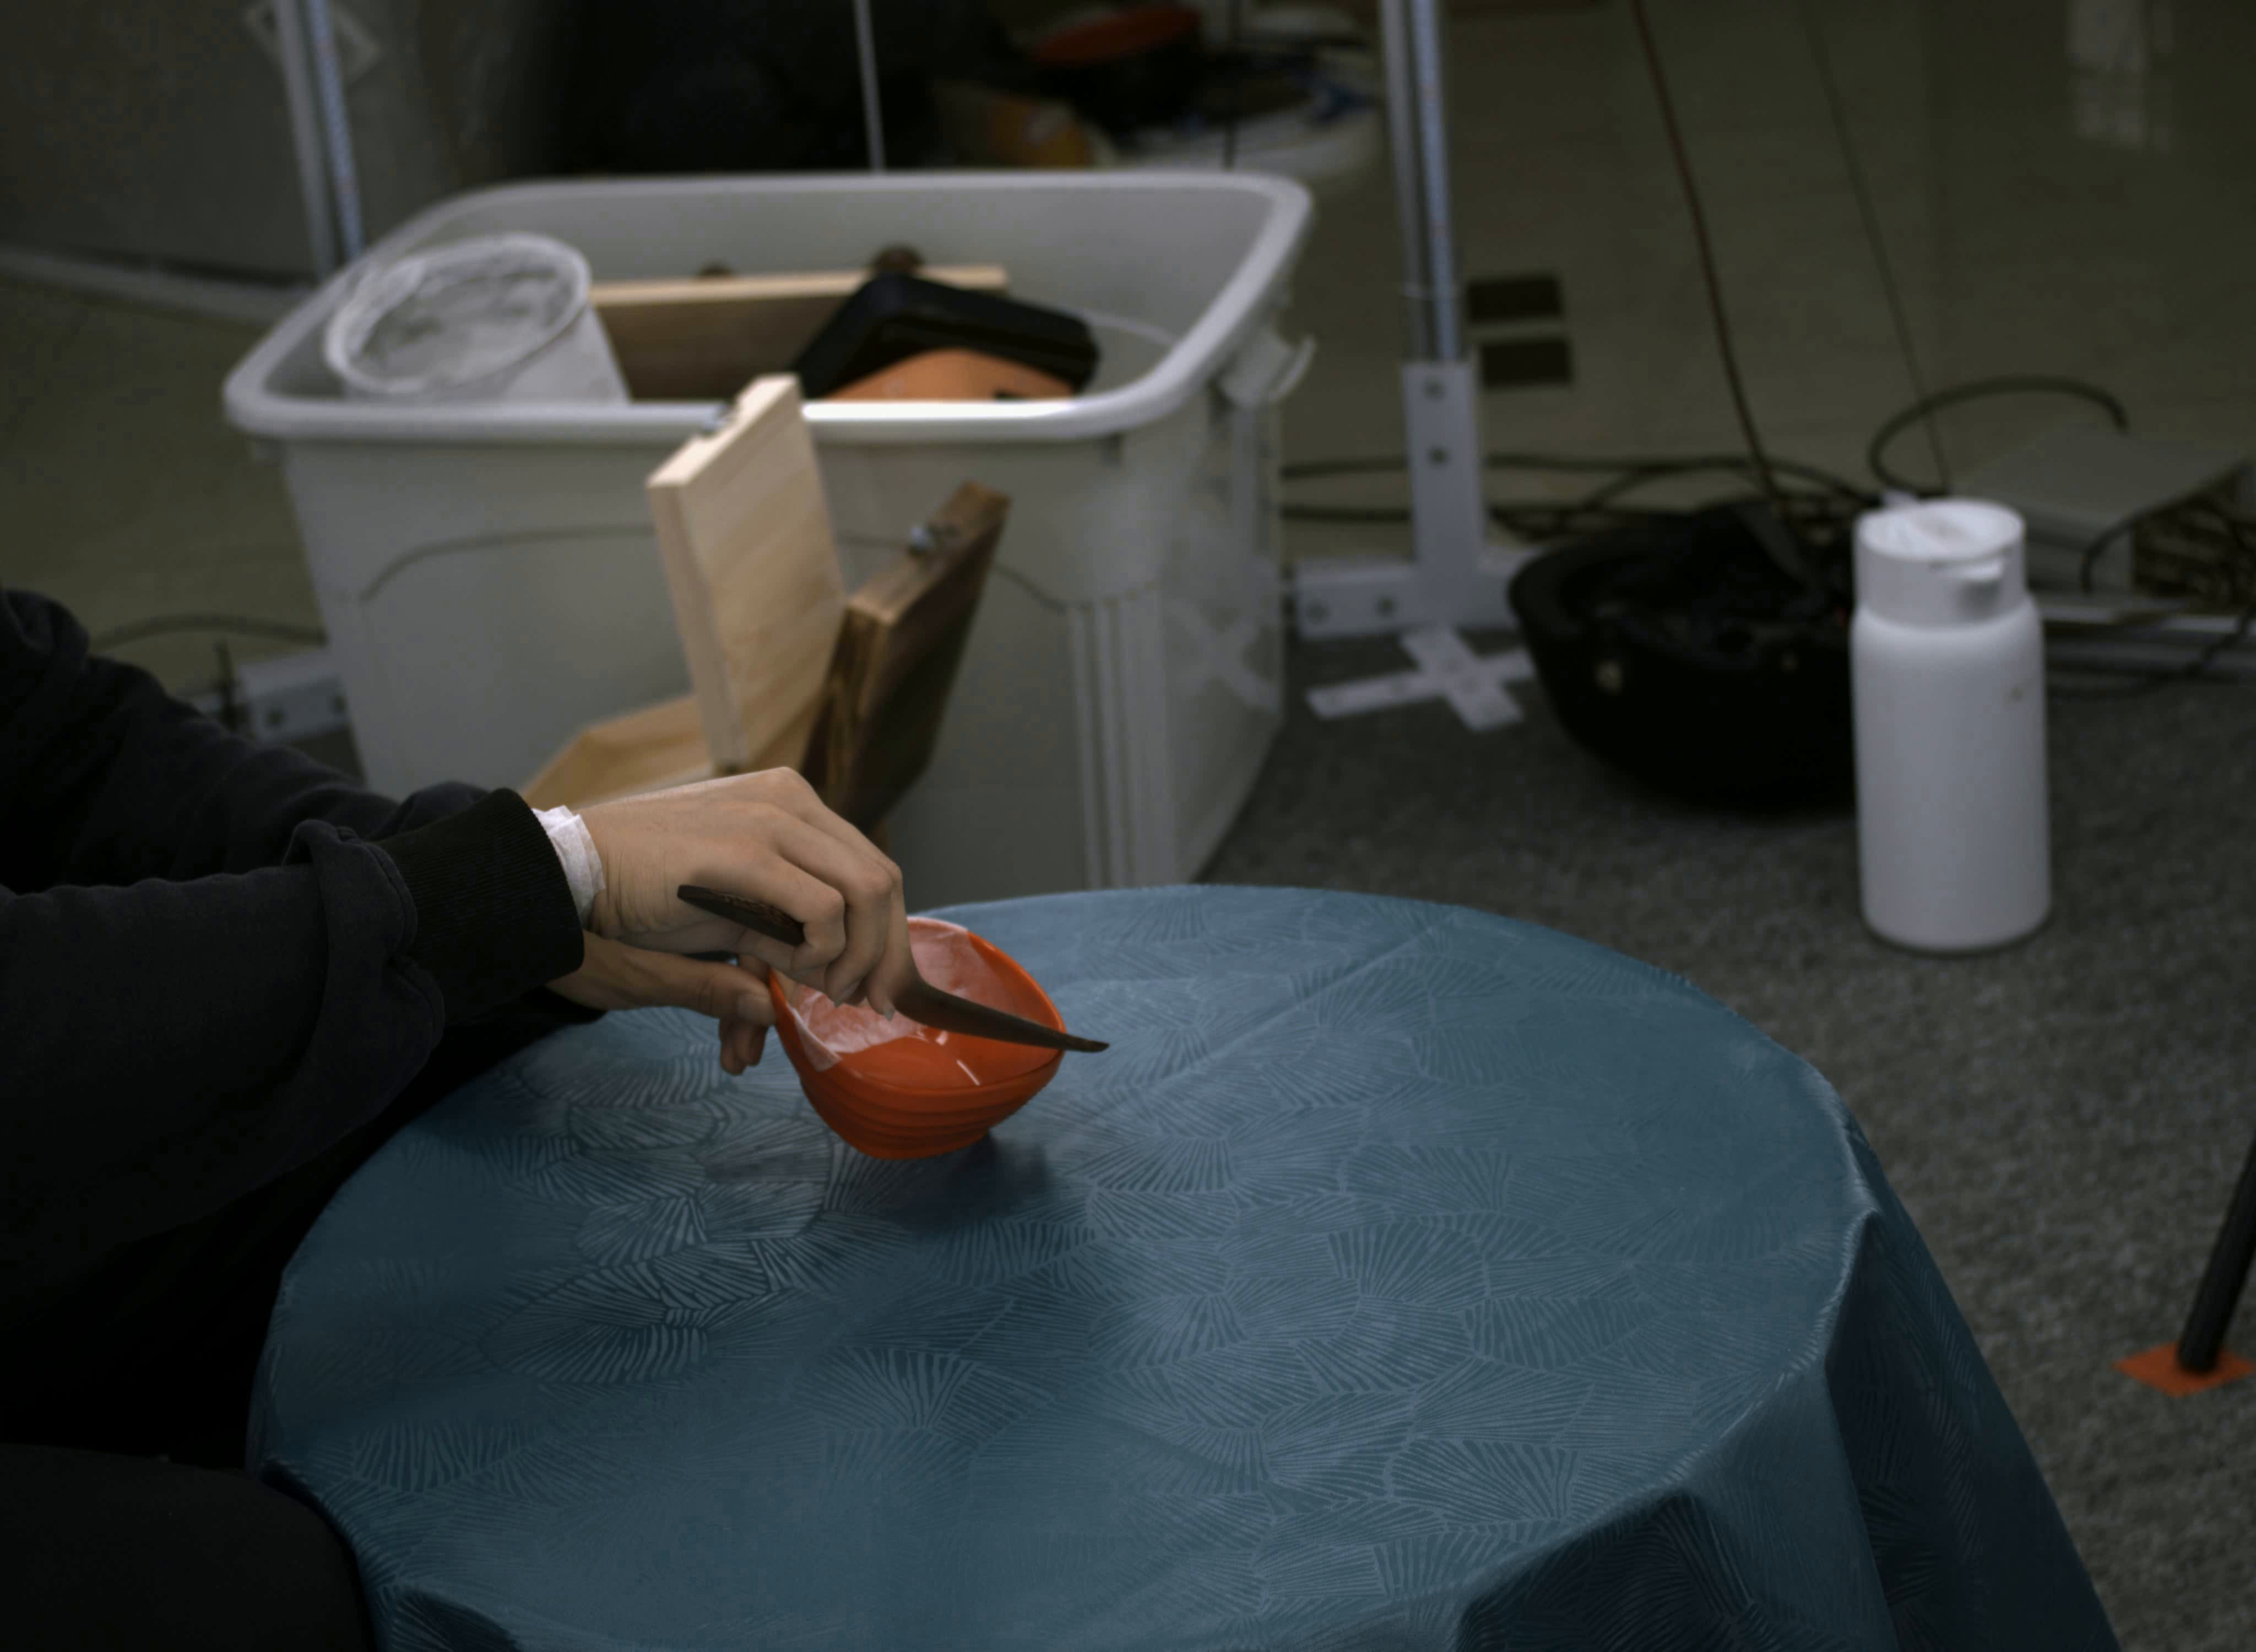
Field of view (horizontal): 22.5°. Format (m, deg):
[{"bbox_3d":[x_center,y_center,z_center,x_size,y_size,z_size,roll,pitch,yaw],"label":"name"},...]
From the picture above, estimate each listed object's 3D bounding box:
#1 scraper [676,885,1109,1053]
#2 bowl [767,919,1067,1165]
[{"bbox_3d":[-0.093,0.055,2.105,0.075,0.011,0.213,4,-15,39],"label":"scraper"},{"bbox_3d":[-0.086,0.090,2.195,0.119,0.052,0.117,12,34,-8],"label":"bowl"}]
